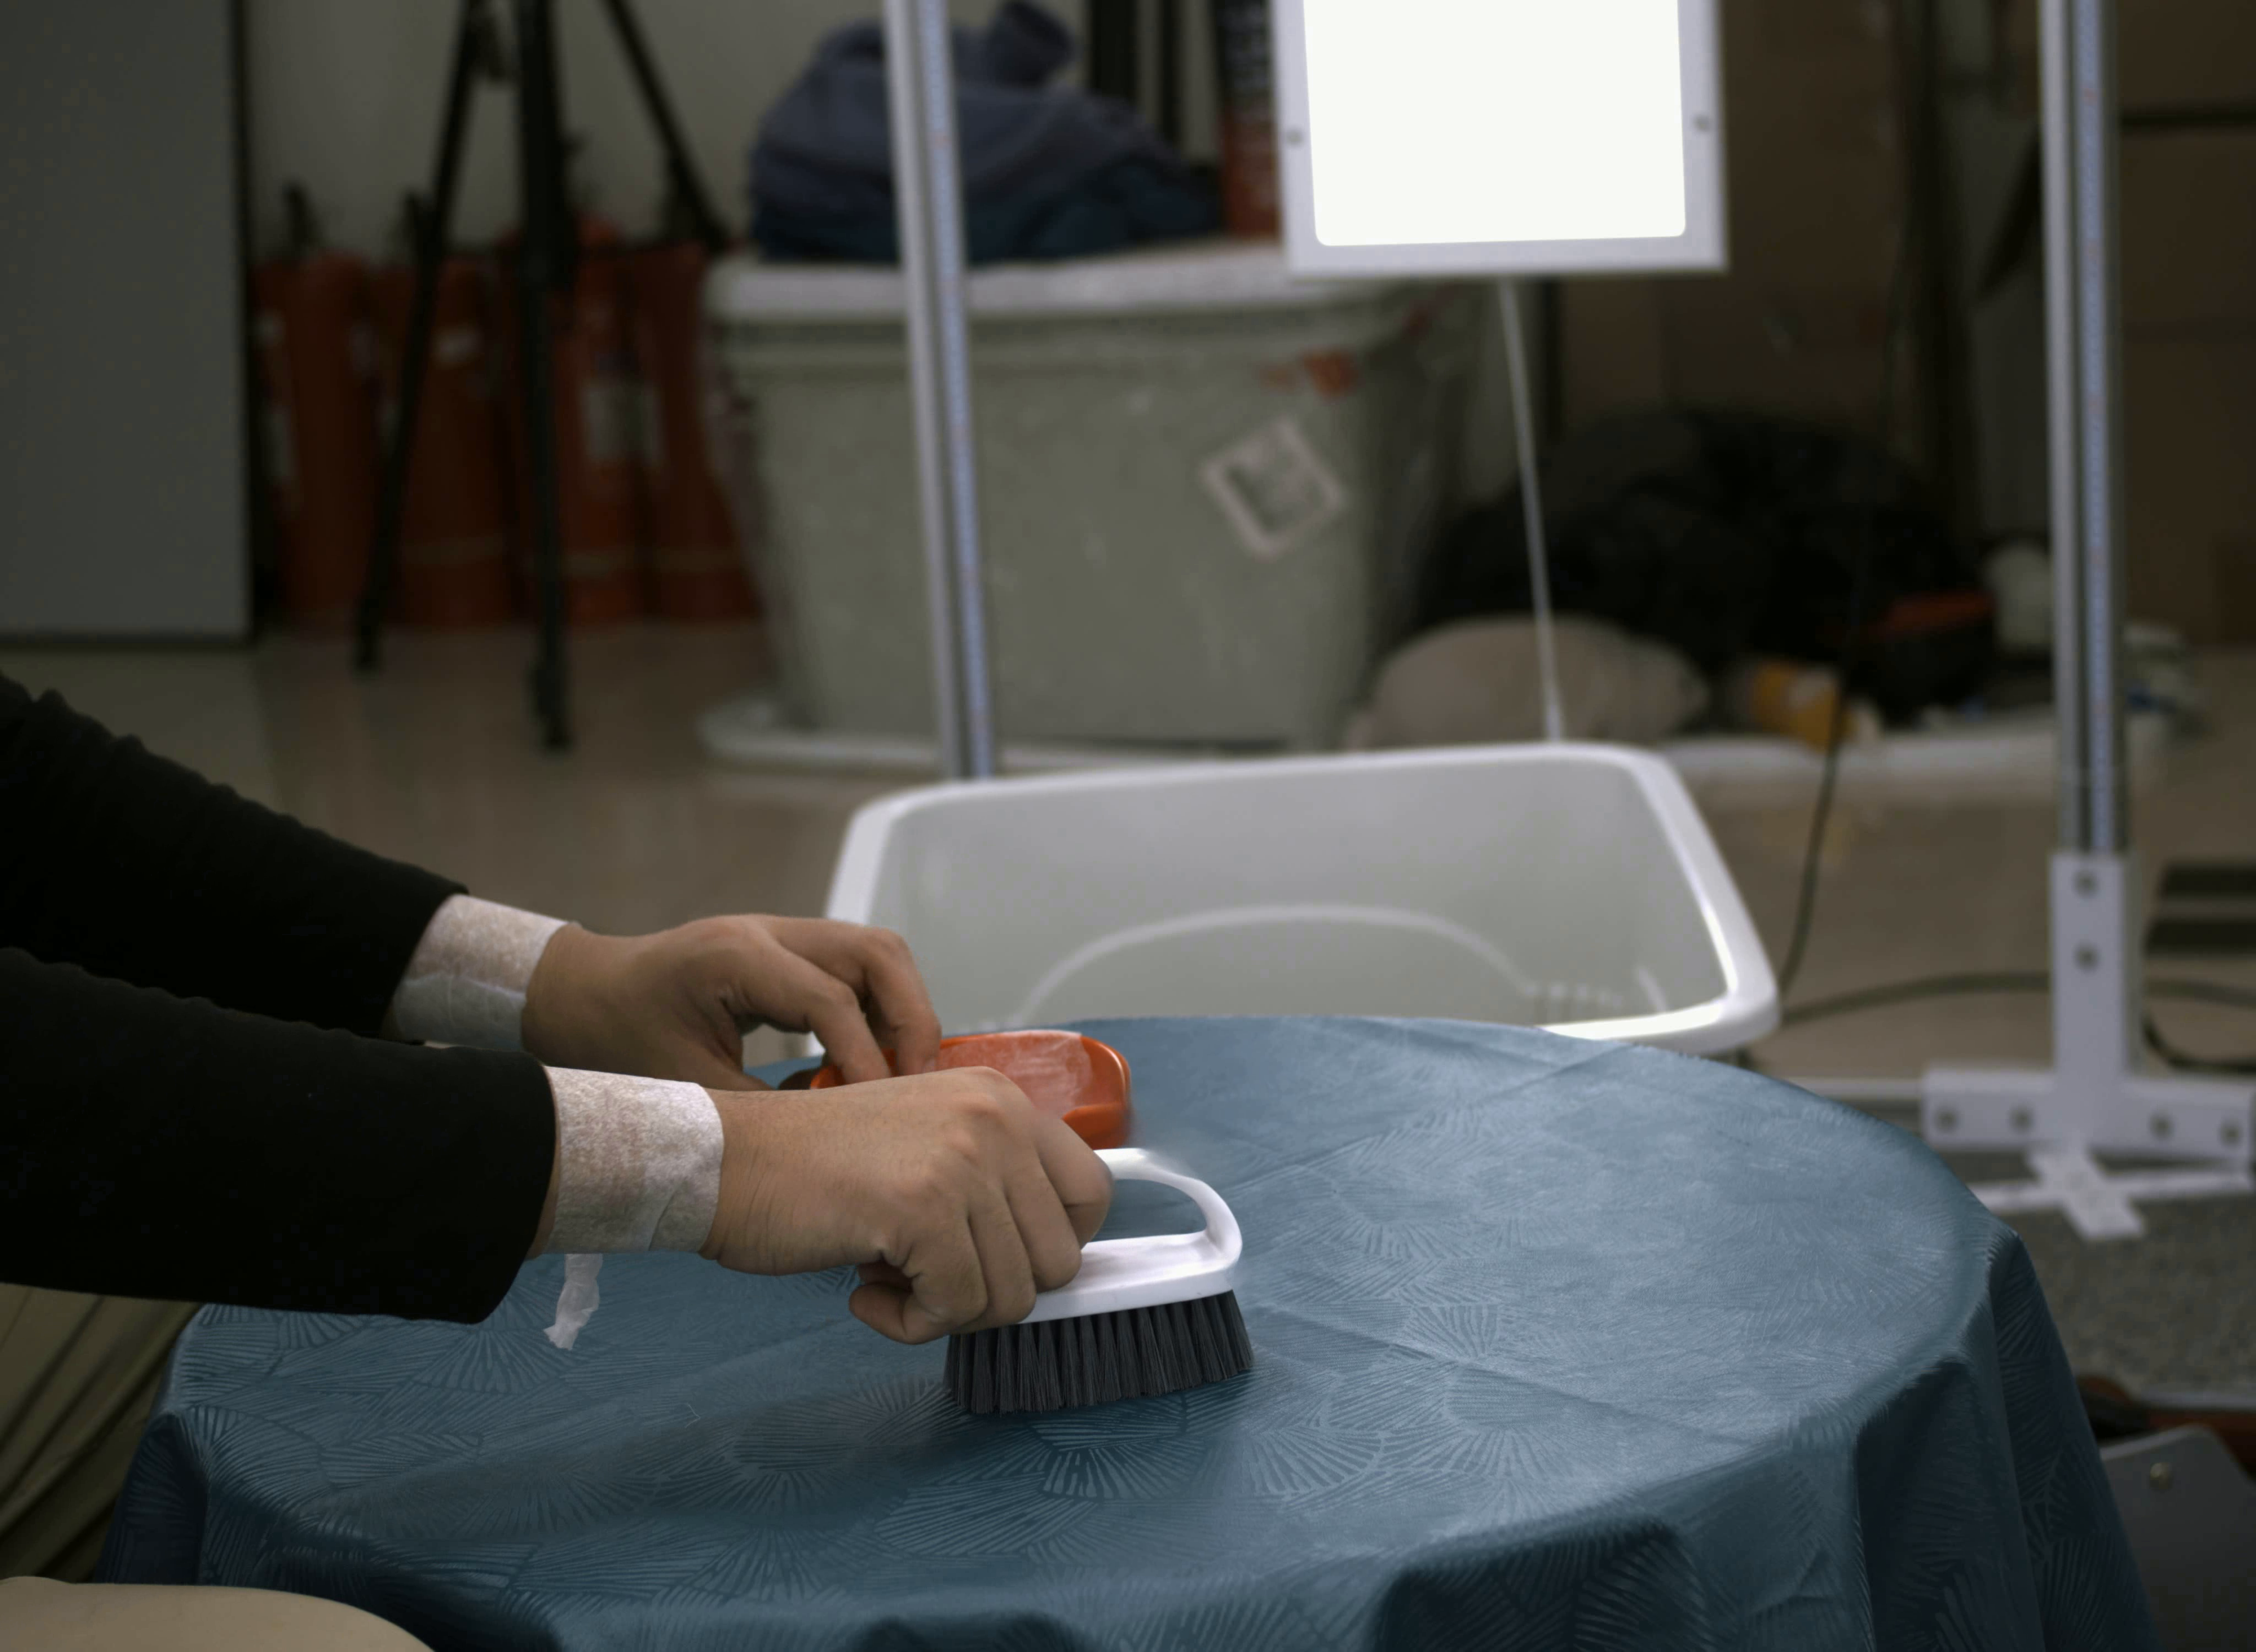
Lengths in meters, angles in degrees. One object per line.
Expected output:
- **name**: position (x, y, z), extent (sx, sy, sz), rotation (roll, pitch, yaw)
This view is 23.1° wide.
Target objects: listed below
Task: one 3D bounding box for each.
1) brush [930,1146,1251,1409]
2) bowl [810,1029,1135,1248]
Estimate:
- **brush**: position (-0.013, 0.136, 1.709), extent (0.098, 0.073, 0.050), rotation (-6, 15, -7)
- **bowl**: position (-0.052, 0.109, 1.878), extent (0.118, 0.051, 0.119), rotation (-2, 15, -1)
